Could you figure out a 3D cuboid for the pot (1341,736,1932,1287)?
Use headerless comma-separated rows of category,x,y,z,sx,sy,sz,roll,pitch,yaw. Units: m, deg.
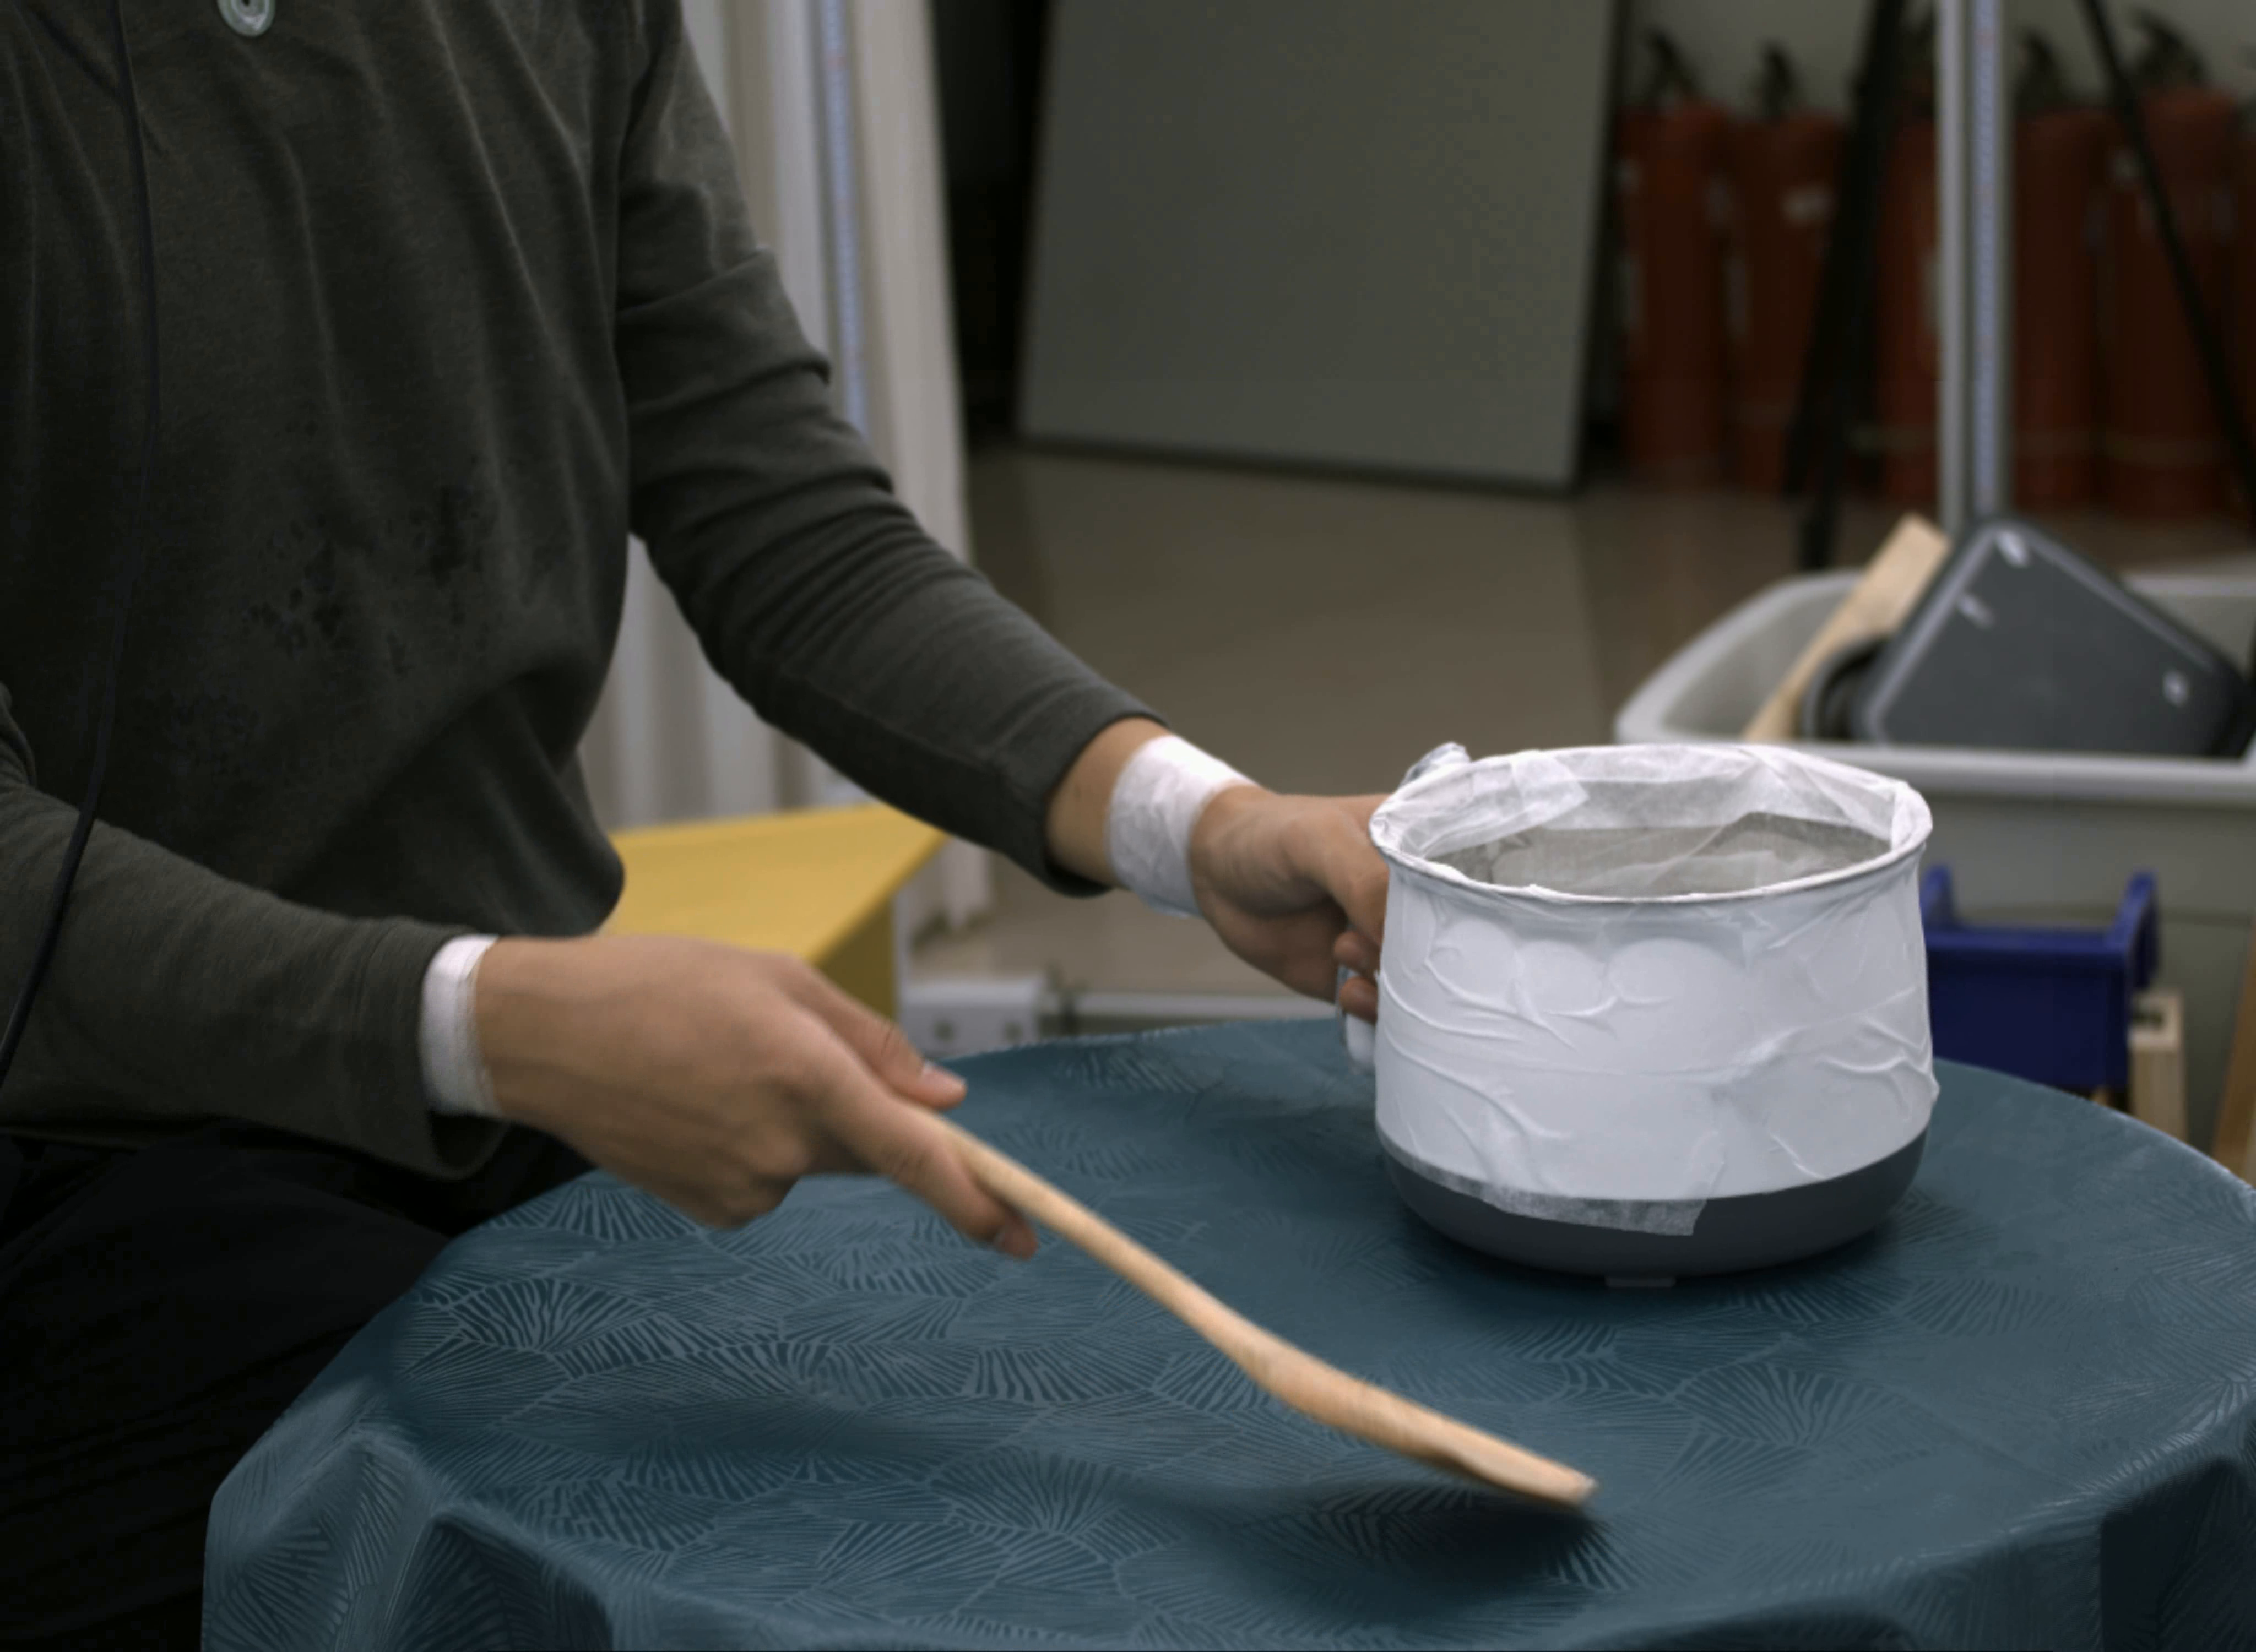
pot,0.148,0.052,1.714,0.175,0.138,0.236,-13,18,-35

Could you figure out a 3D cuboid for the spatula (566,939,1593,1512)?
spatula,-0.030,0.109,1.538,0.394,0.018,0.094,29,4,36
